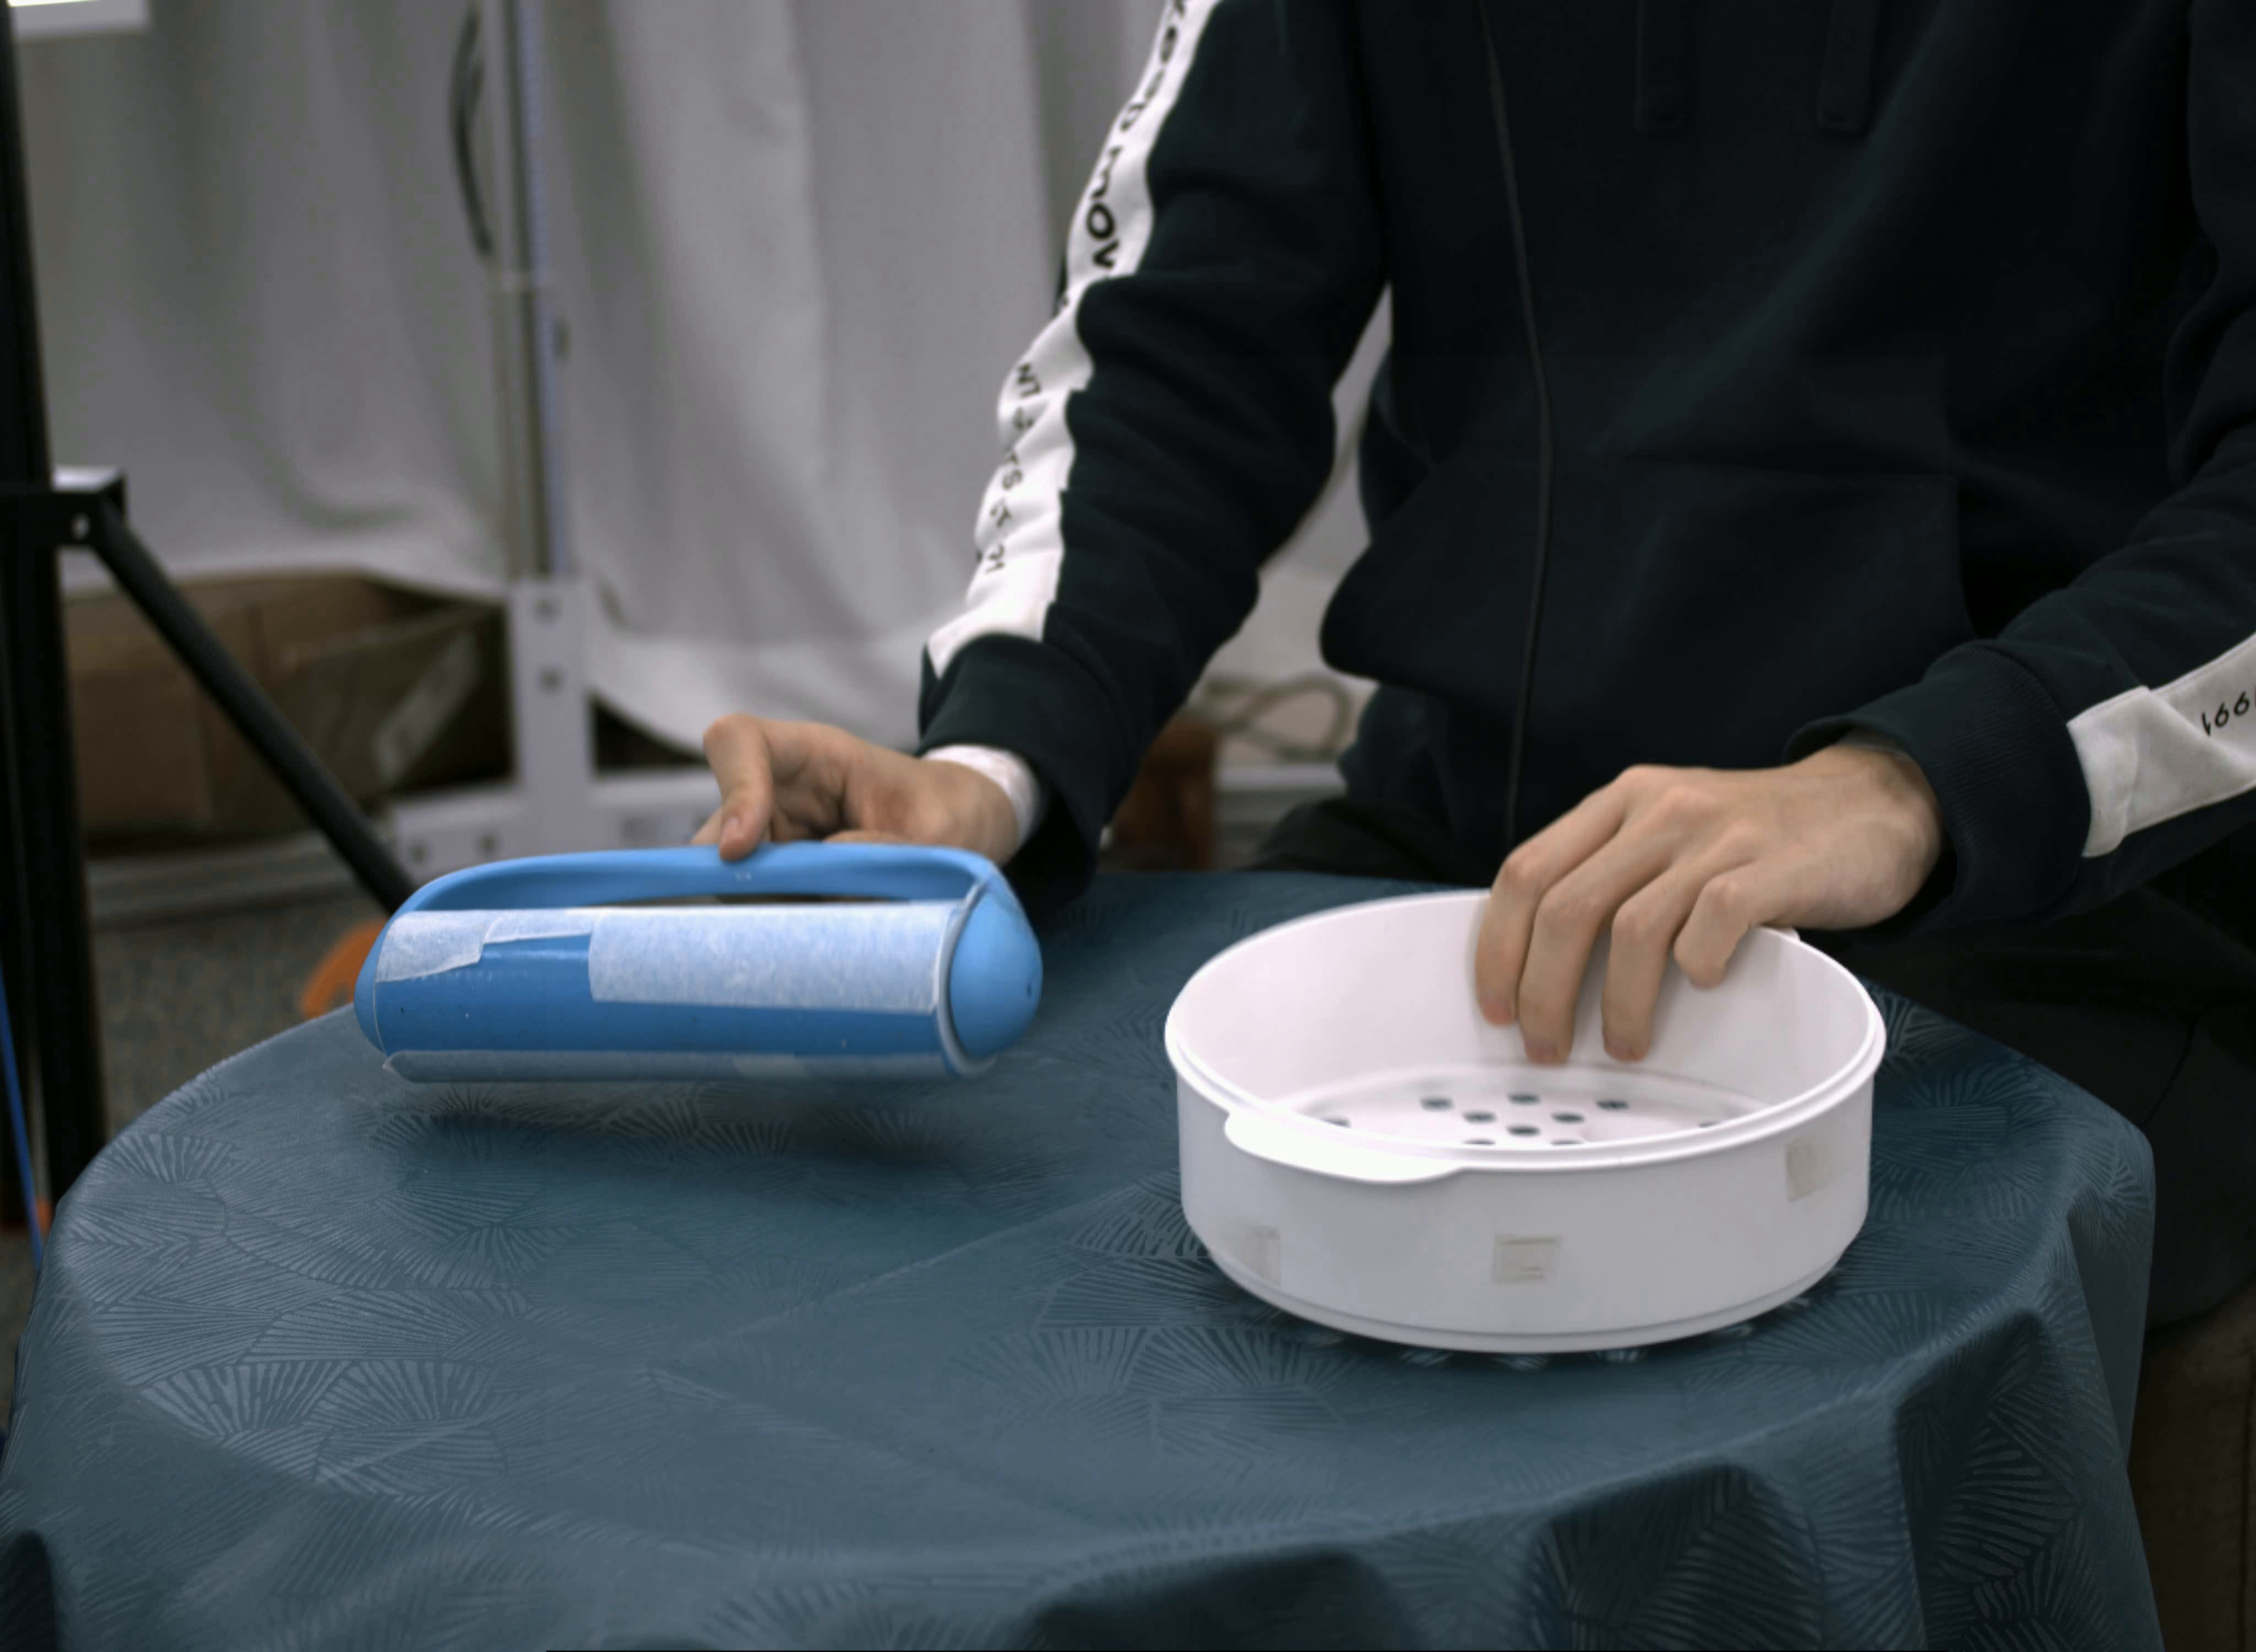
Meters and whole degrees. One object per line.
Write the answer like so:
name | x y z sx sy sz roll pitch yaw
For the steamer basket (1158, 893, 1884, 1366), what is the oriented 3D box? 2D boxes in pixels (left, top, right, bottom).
steamer basket | 0.108 0.085 1.477 0.206 0.069 0.226 14 24 33

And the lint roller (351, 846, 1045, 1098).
lint roller | -0.115 0.038 1.672 0.231 0.068 0.178 -5 11 21
